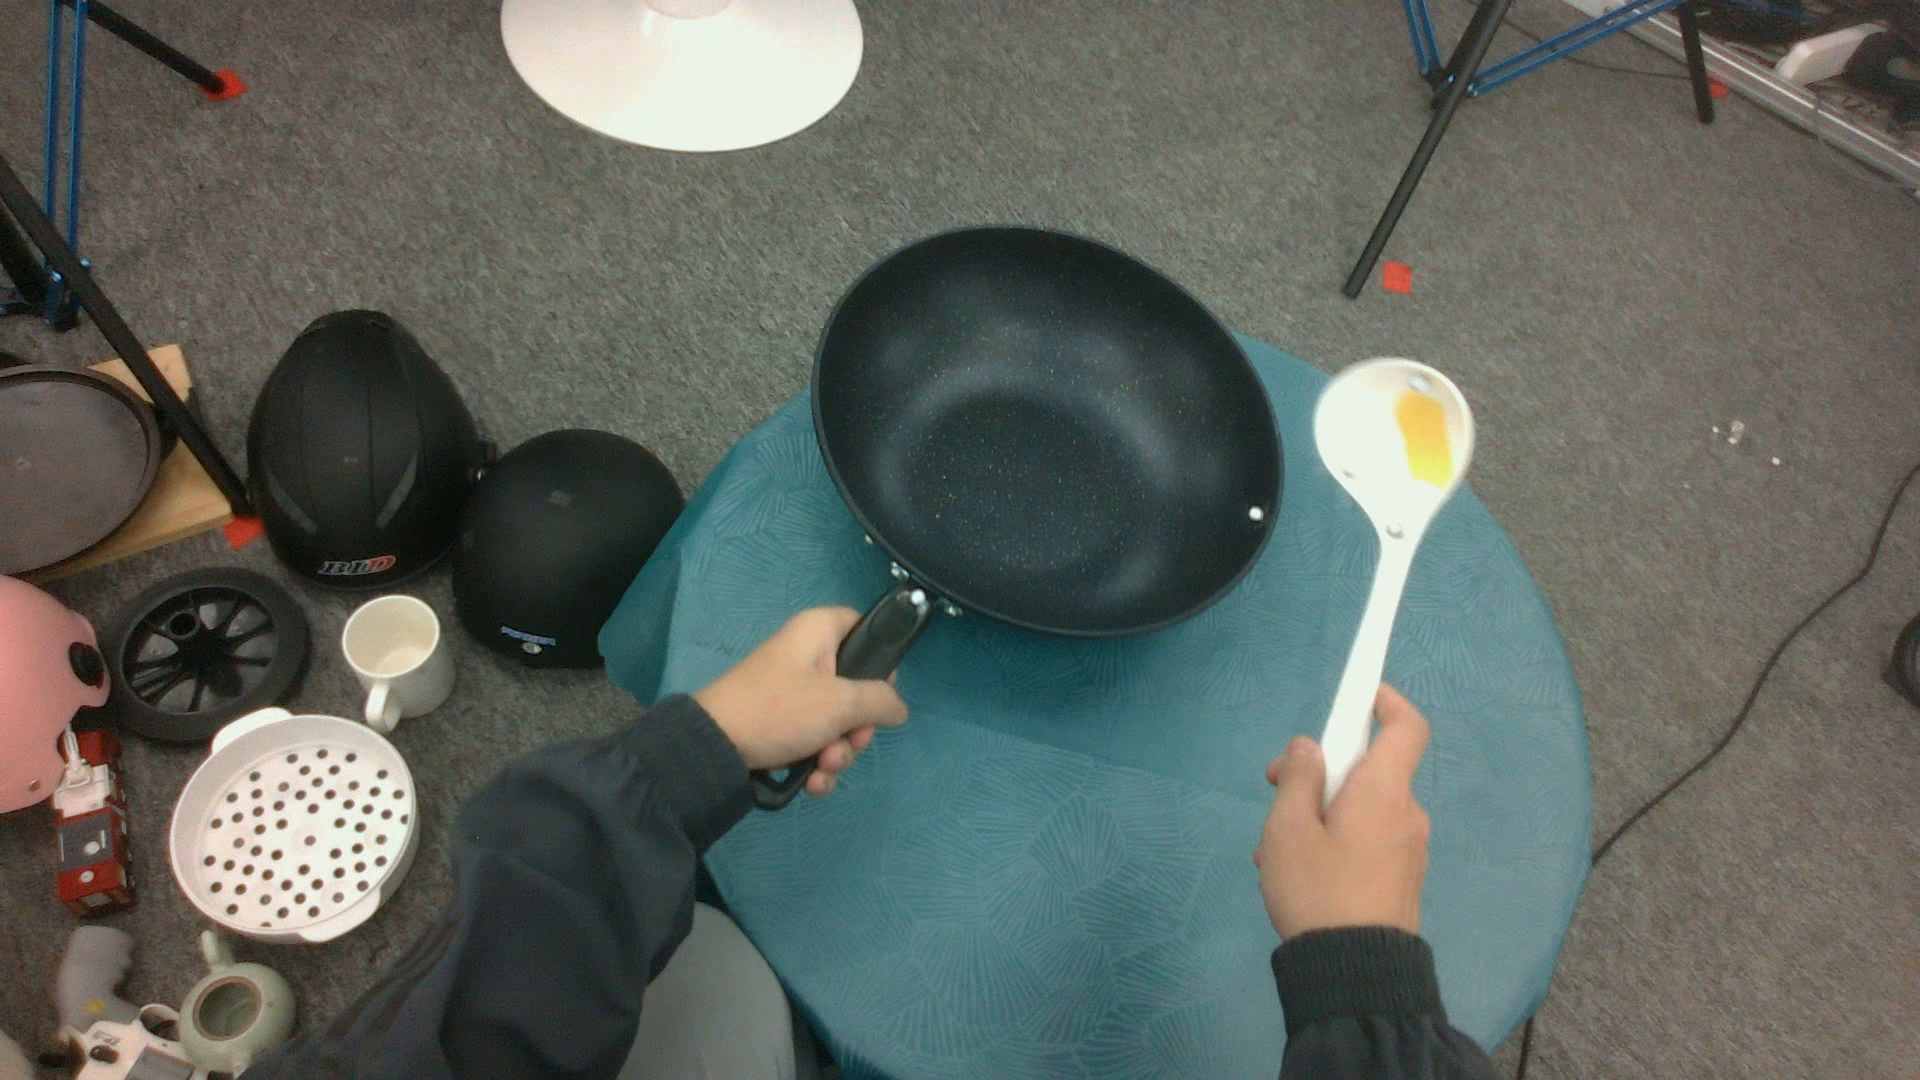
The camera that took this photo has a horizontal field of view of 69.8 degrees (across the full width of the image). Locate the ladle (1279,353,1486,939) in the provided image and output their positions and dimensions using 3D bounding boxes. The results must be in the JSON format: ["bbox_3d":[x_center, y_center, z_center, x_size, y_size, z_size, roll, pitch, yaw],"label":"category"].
[{"bbox_3d":[0.204,0.052,0.702,0.070,0.090,0.293,27,75,-42],"label":"ladle"}]

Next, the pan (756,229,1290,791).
[{"bbox_3d":[0.017,-0.013,0.859,0.310,0.111,0.479,32,56,7],"label":"pan"}]
